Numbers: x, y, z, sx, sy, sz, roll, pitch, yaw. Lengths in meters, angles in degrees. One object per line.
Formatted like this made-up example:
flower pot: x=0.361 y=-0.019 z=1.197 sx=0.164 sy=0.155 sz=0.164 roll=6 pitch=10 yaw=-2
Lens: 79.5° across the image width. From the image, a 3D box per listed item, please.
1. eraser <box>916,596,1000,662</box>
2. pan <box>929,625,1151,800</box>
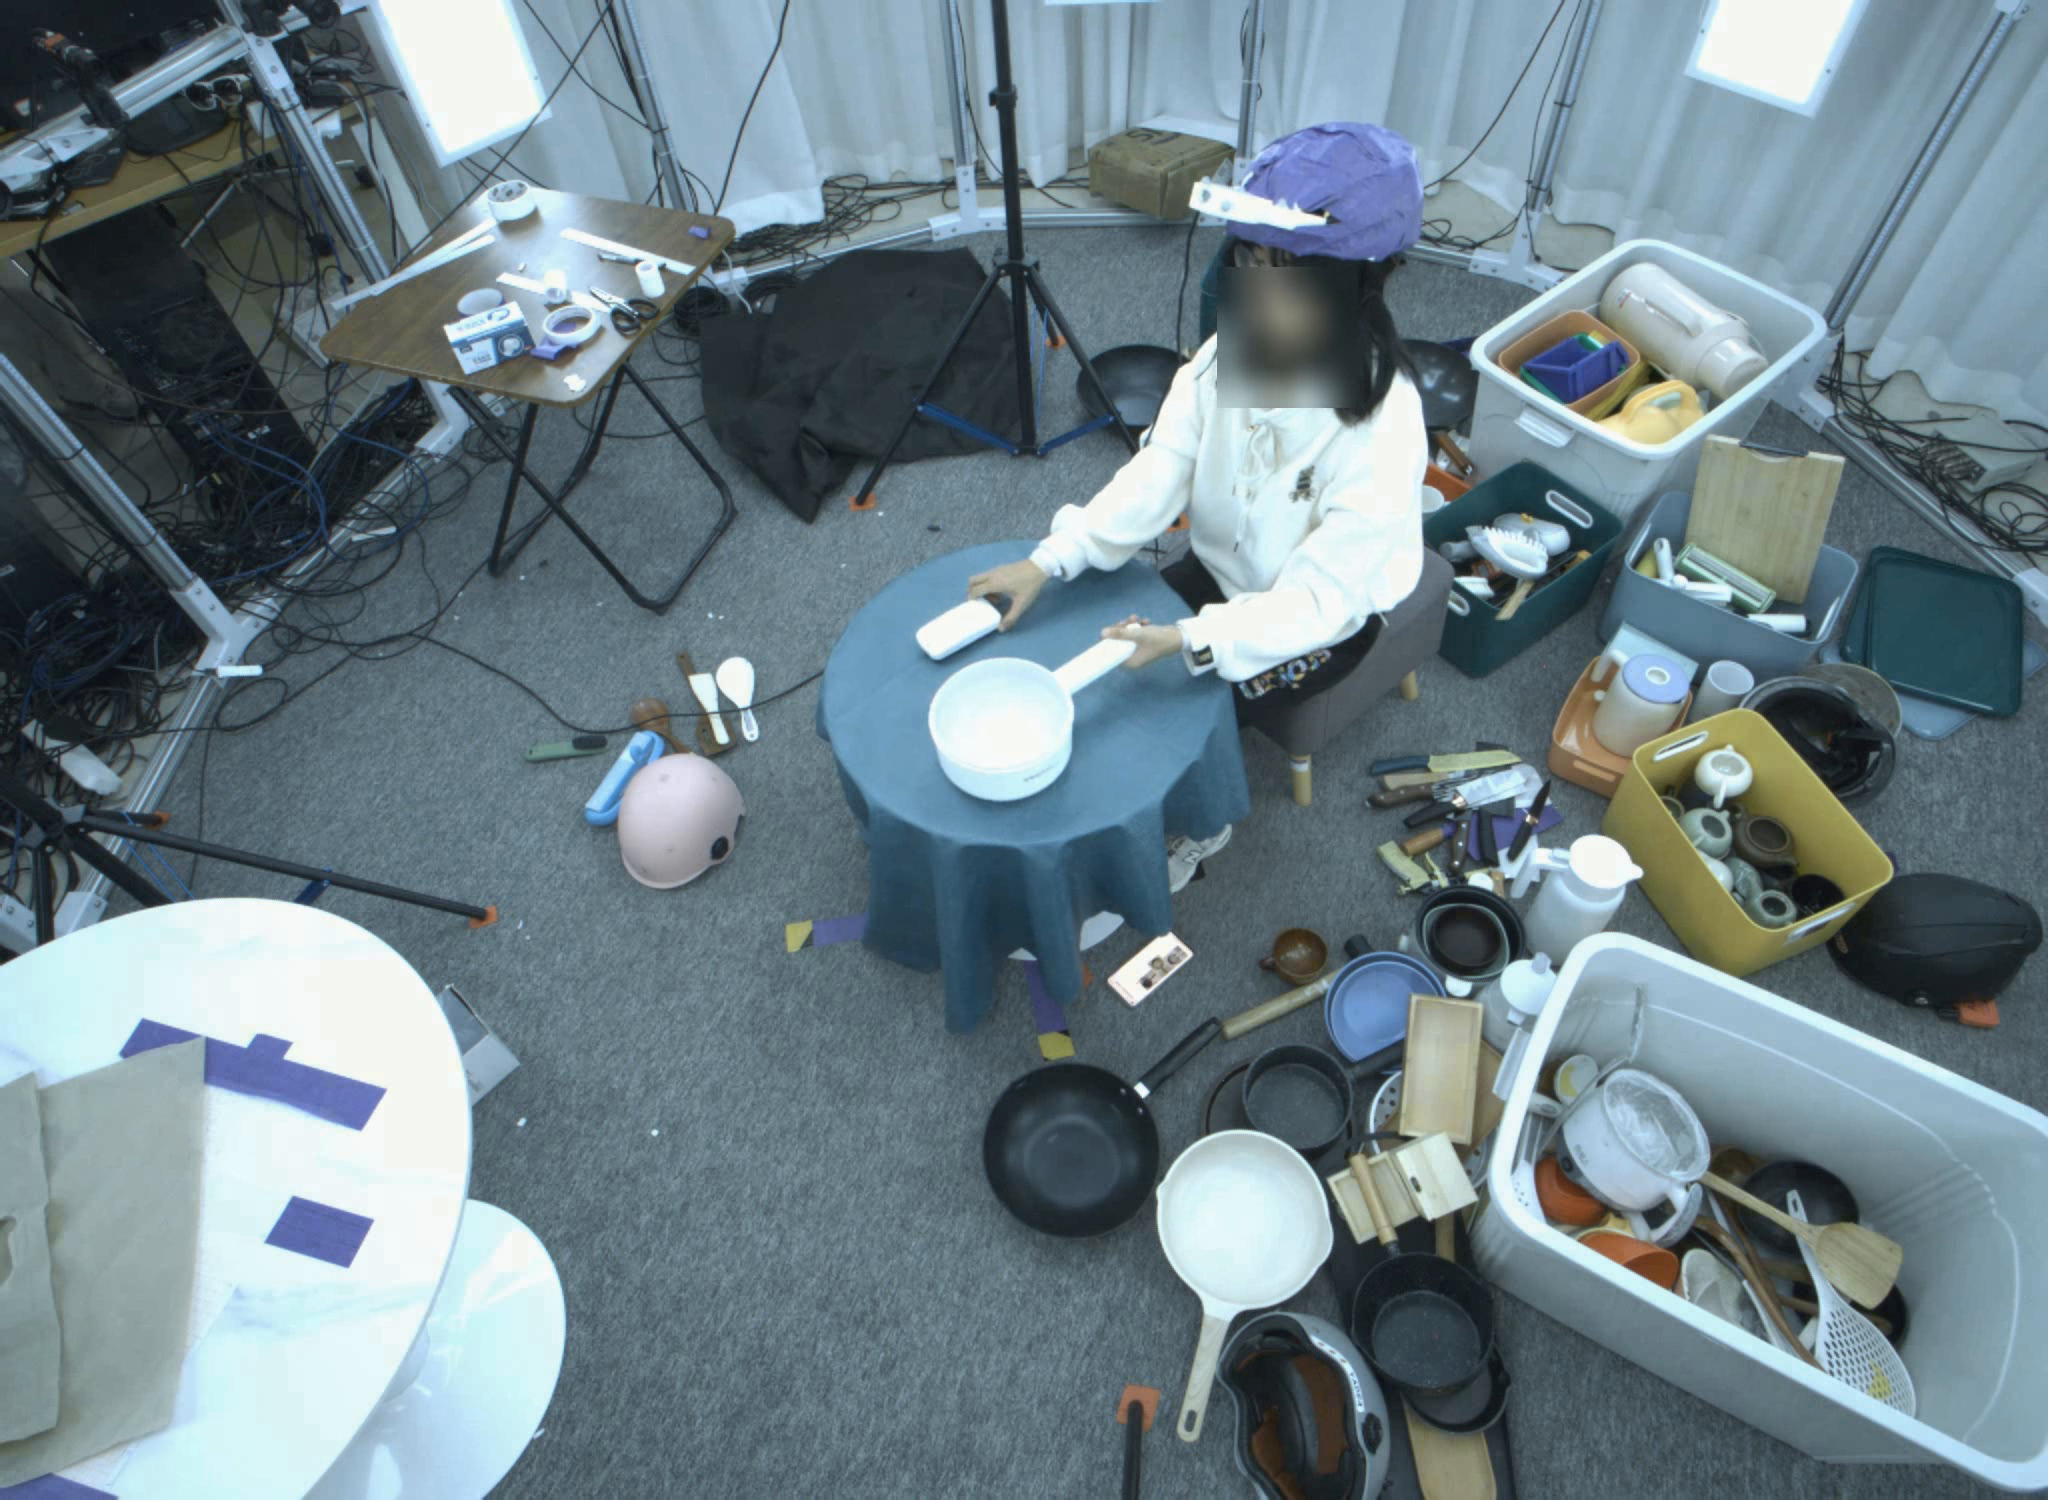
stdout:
eraser: x=-0.101 y=-0.188 z=1.905 sx=0.132 sy=0.035 sz=0.062 roll=-32 pitch=64 yaw=-18
pan: x=0.031 y=-0.063 z=1.770 sx=0.358 sy=0.103 sz=0.197 roll=-31 pitch=61 yaw=-21
